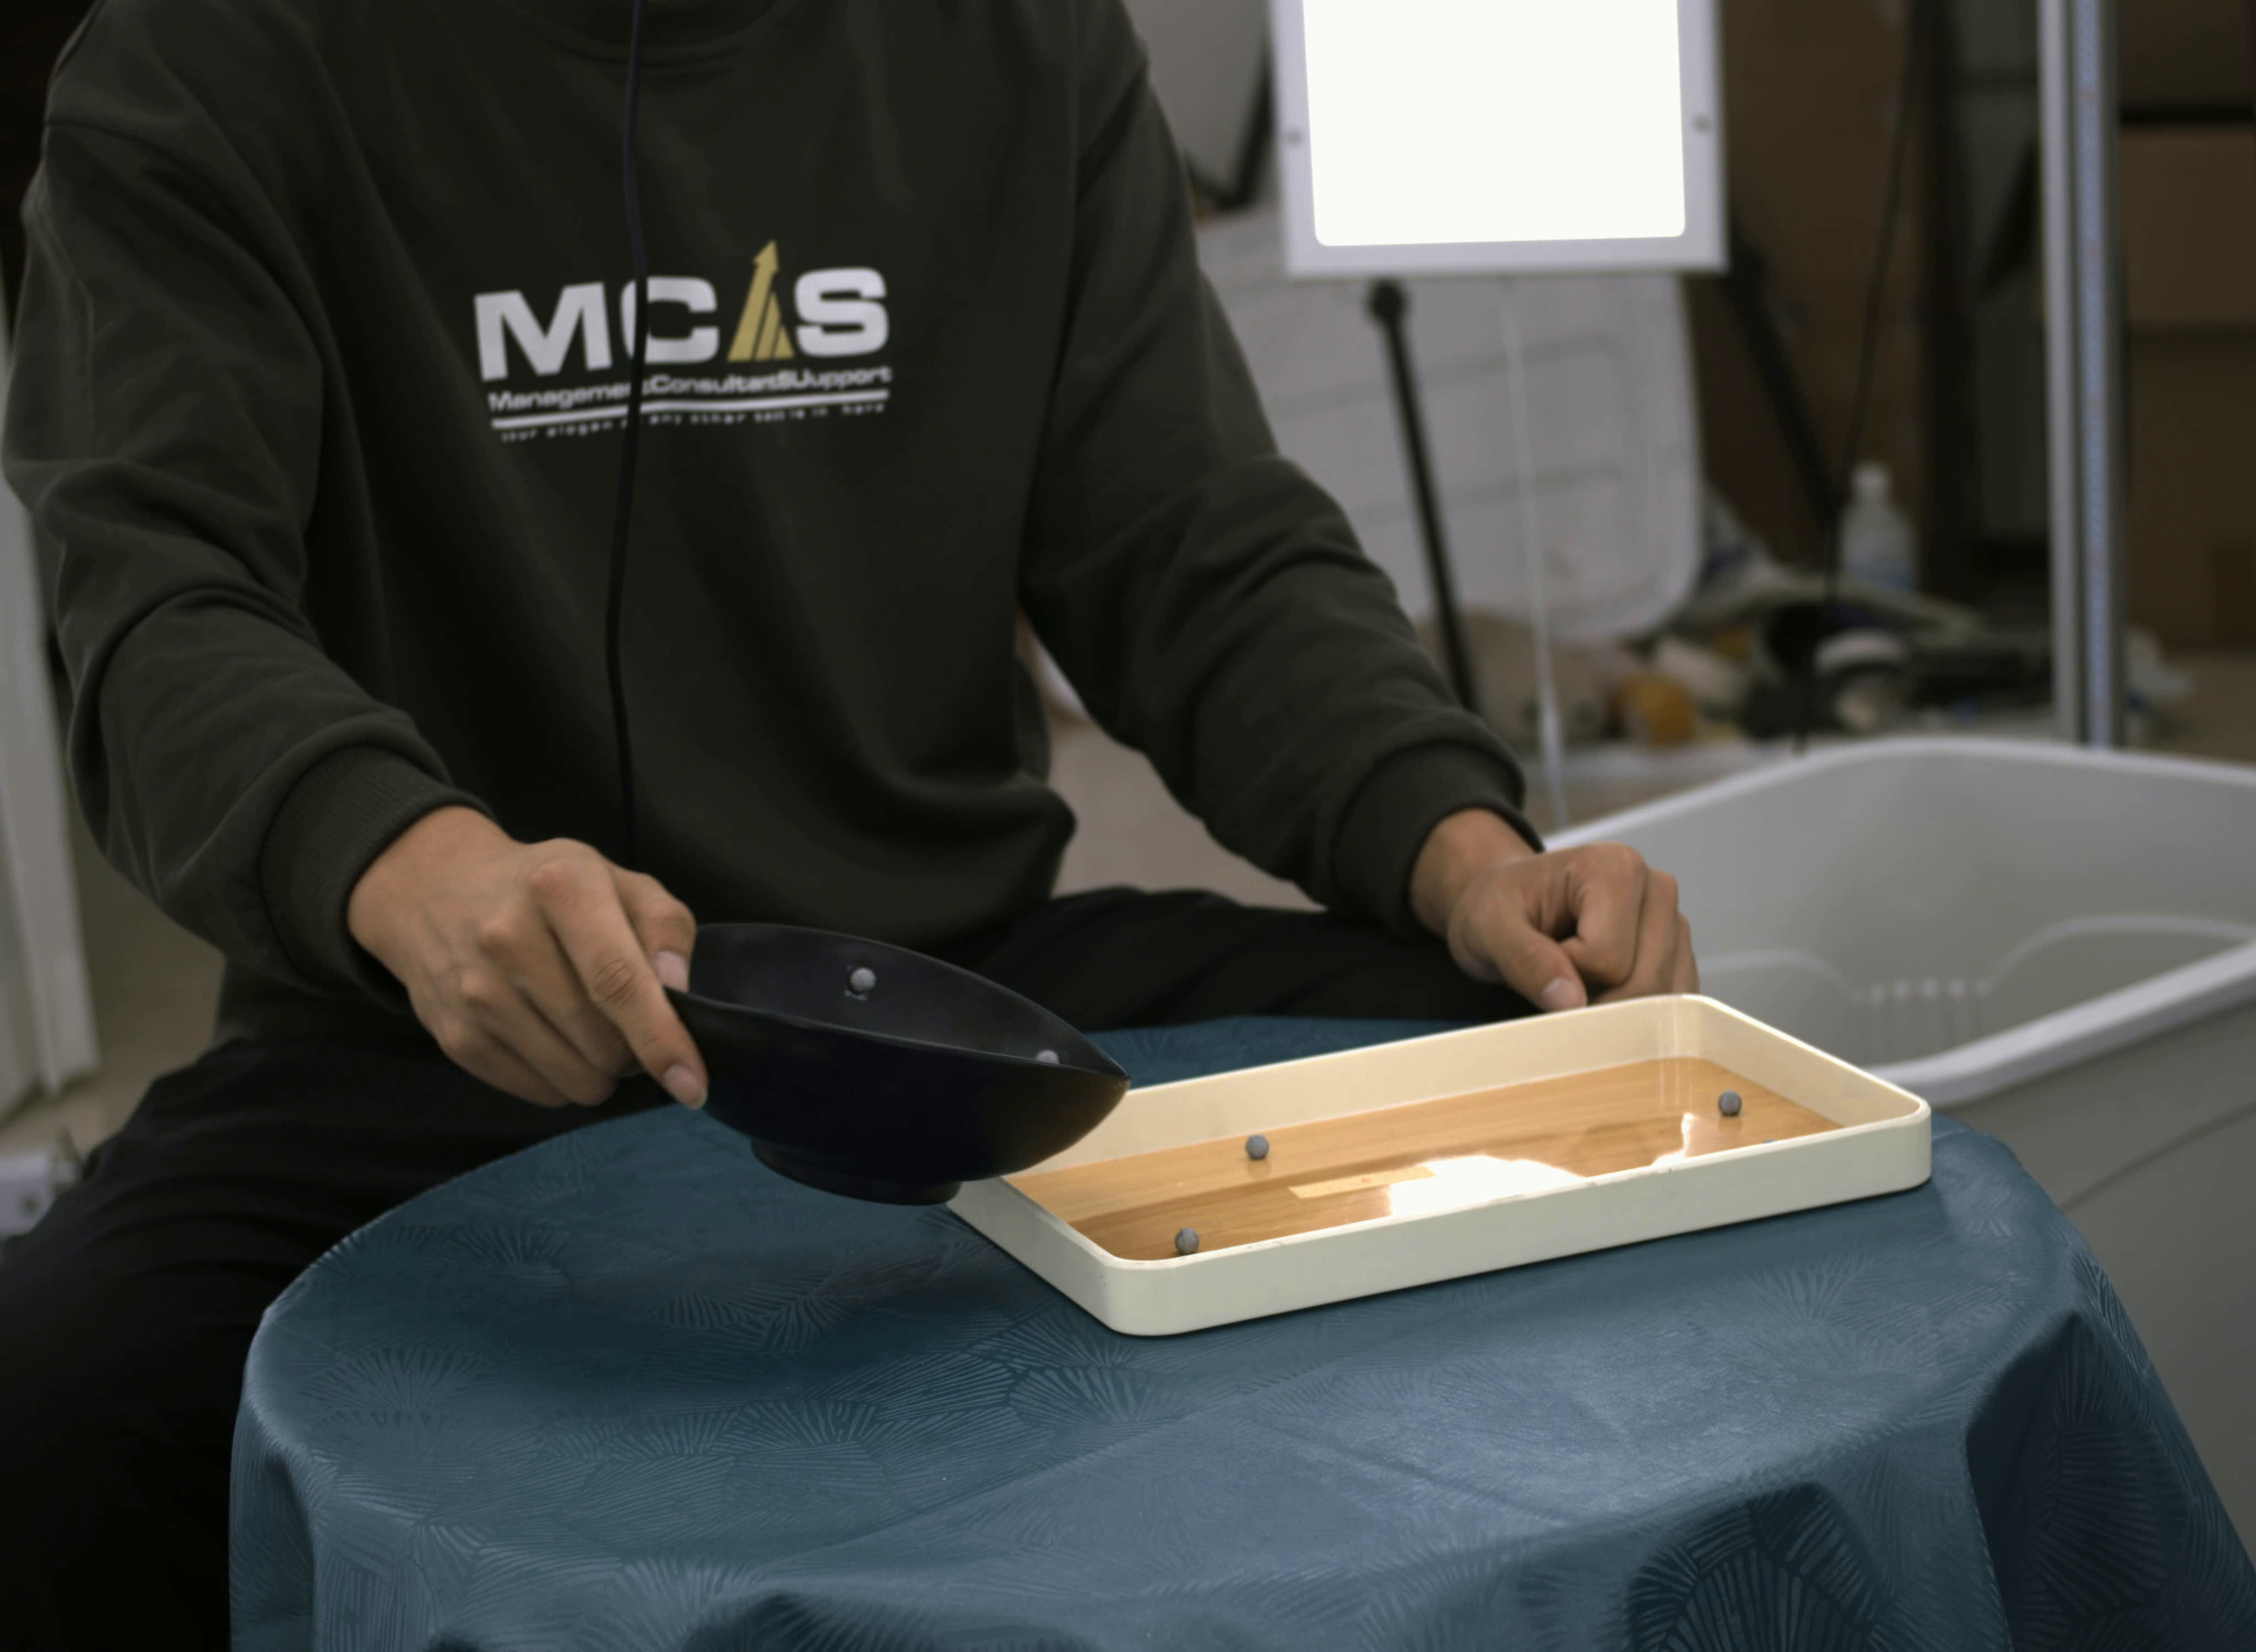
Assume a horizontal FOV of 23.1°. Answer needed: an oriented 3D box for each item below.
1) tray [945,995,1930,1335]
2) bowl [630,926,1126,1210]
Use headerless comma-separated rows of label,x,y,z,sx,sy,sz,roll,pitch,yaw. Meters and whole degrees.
tray,0.103,0.112,1.866,0.295,0.027,0.194,-10,14,-18
bowl,-0.086,0.084,1.804,0.167,0.067,0.138,10,12,-18
